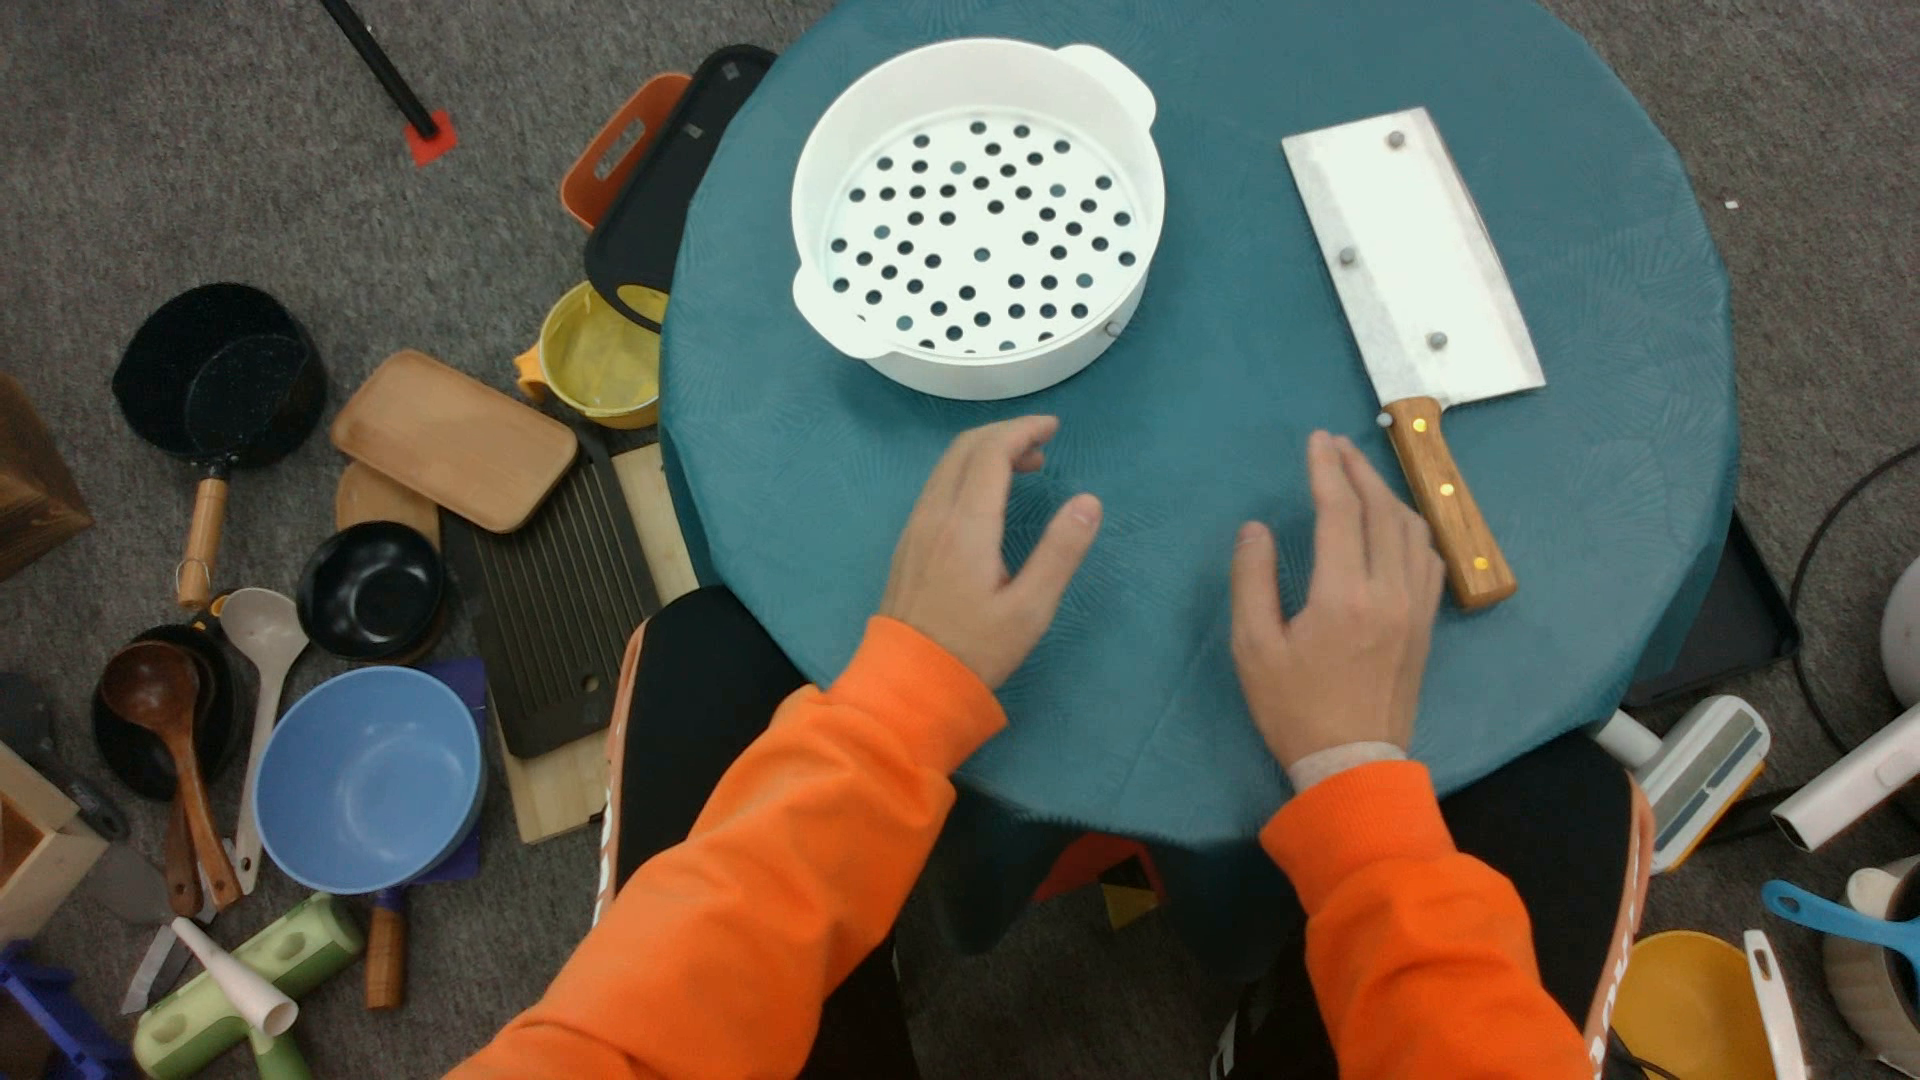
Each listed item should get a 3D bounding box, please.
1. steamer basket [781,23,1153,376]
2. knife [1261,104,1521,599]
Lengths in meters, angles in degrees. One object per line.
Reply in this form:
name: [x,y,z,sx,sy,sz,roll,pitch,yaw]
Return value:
steamer basket: [0.004,-0.188,0.770,0.231,0.069,0.202,-42,75,-13]
knife: [0.254,-0.117,0.762,0.093,0.021,0.306,-13,69,-4]
